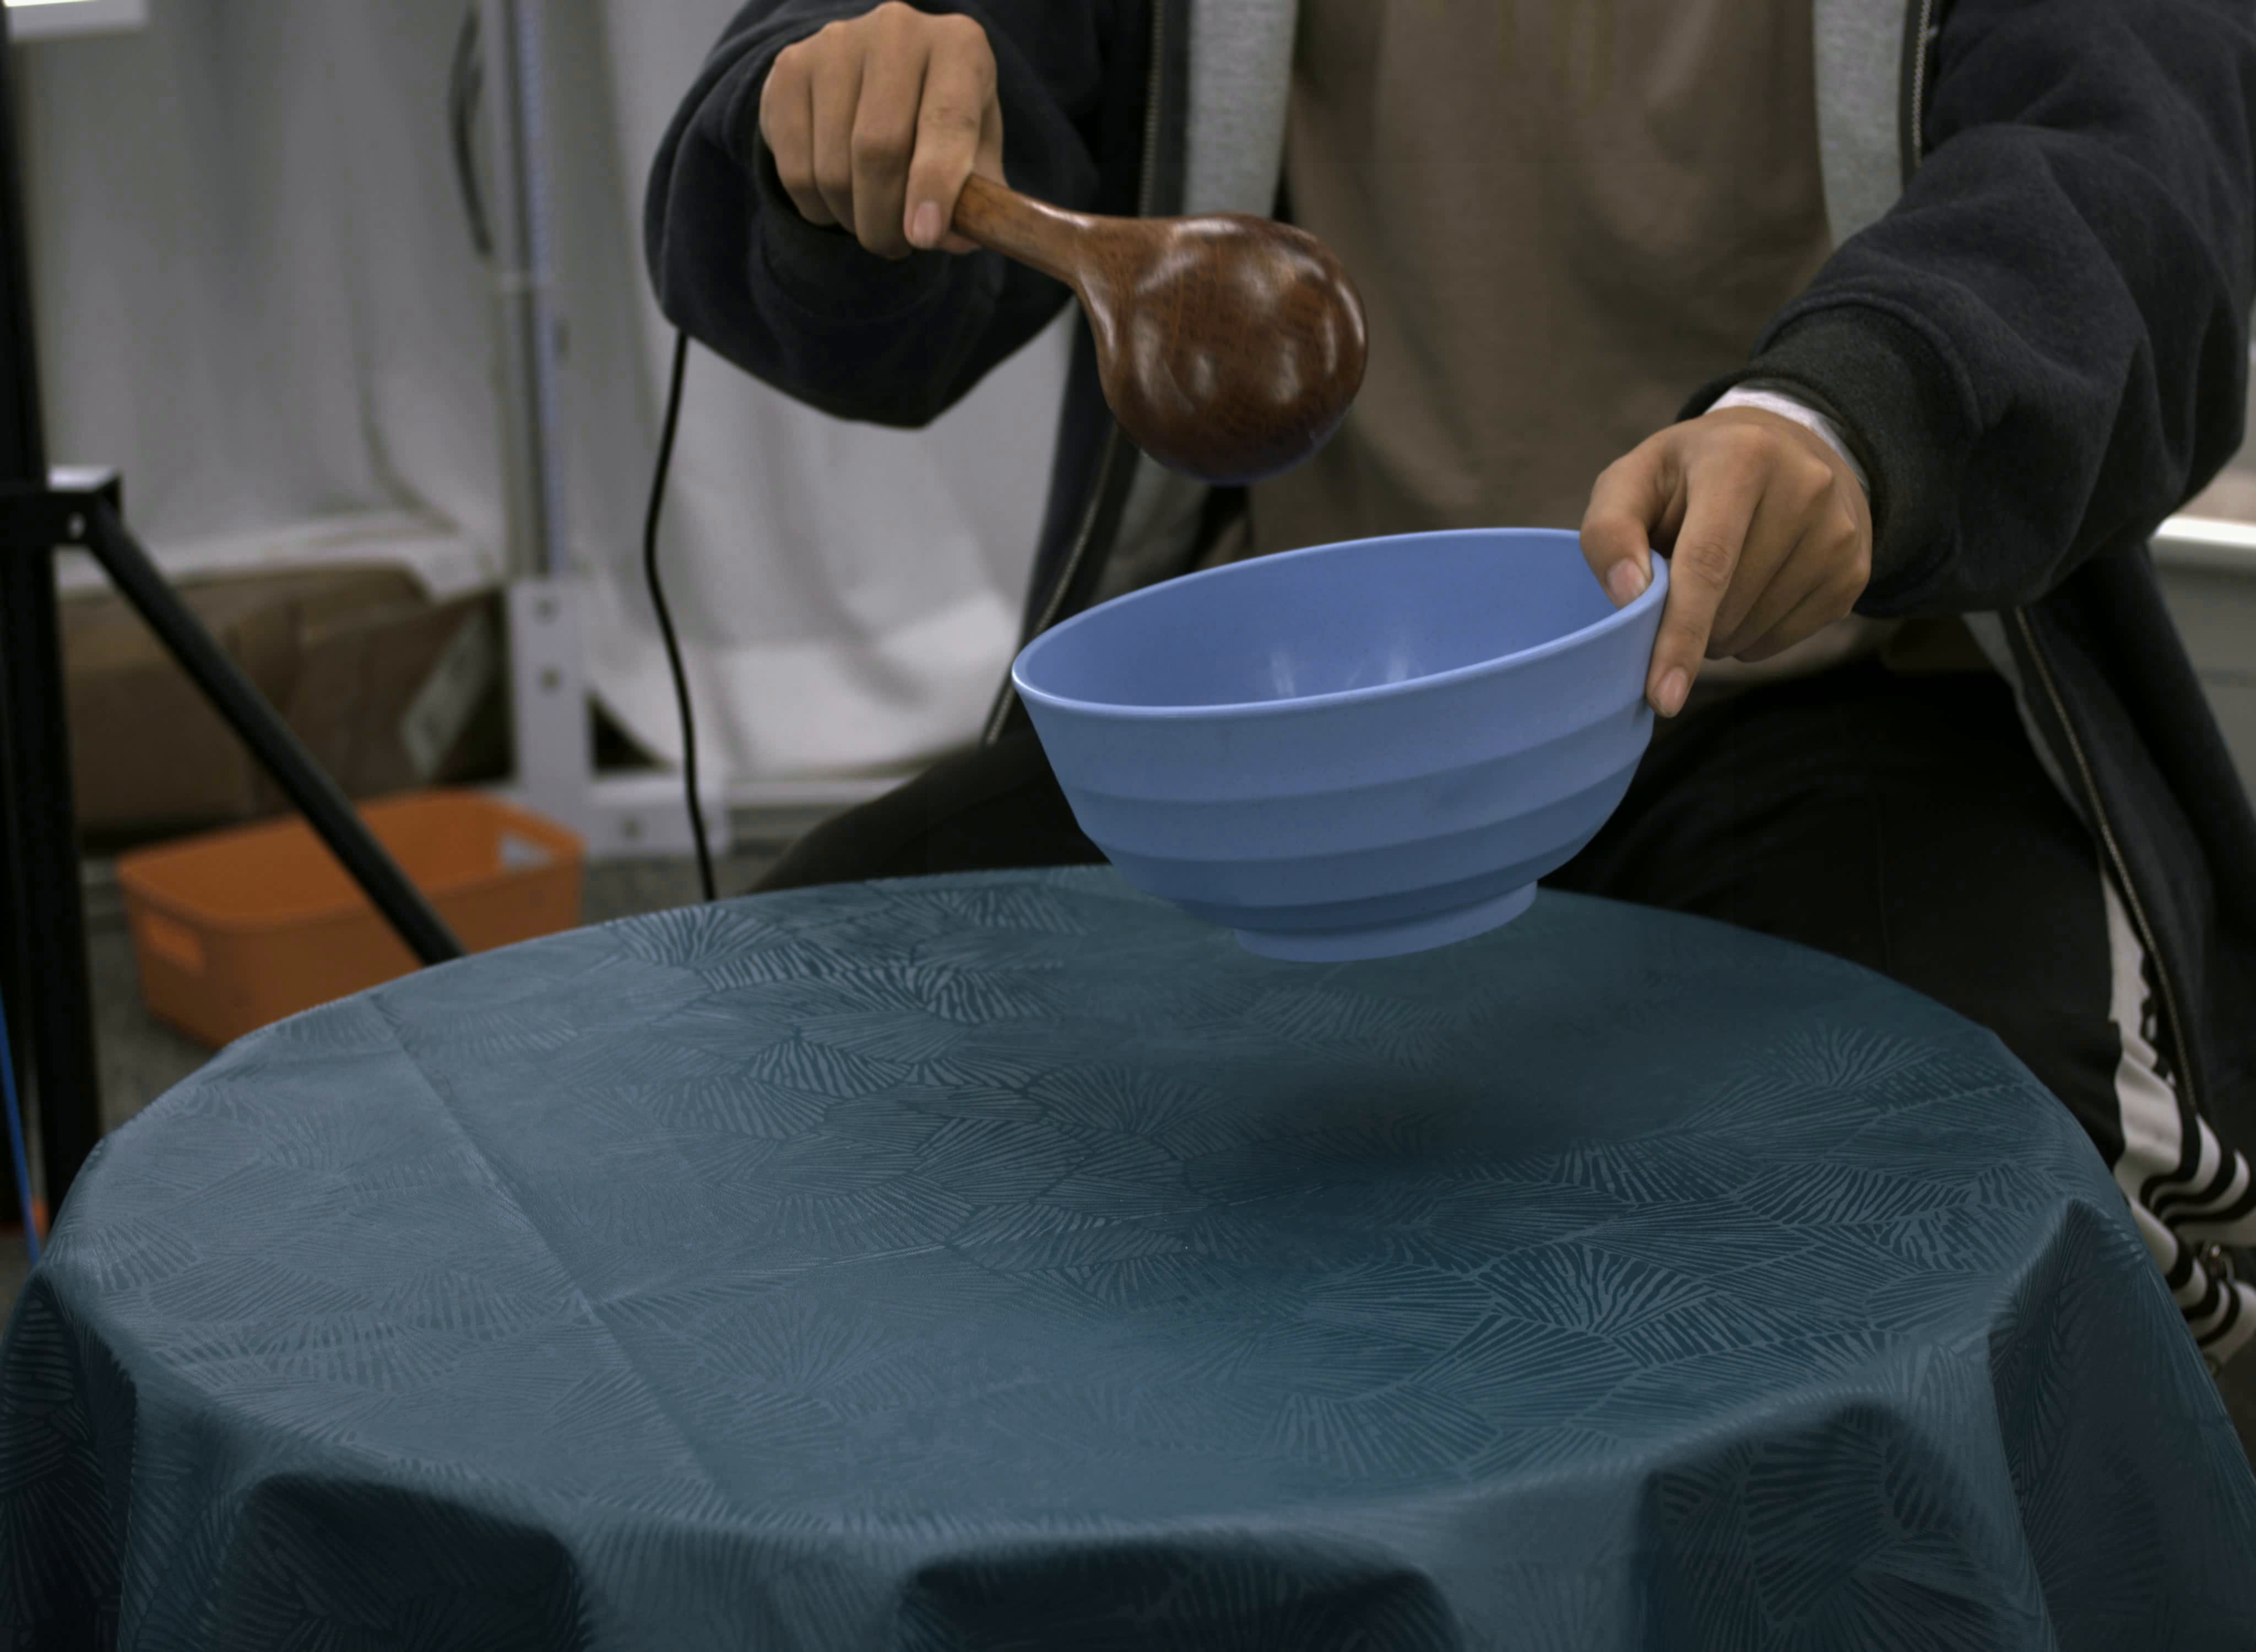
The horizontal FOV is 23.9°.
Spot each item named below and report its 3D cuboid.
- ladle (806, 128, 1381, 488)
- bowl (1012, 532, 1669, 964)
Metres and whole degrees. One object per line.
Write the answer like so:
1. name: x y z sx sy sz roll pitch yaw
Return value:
1. ladle: -0.014 -0.168 1.640 0.075 0.082 0.279 41 -5 -29
2. bowl: 0.069 -0.018 1.577 0.196 0.095 0.197 -10 14 1
